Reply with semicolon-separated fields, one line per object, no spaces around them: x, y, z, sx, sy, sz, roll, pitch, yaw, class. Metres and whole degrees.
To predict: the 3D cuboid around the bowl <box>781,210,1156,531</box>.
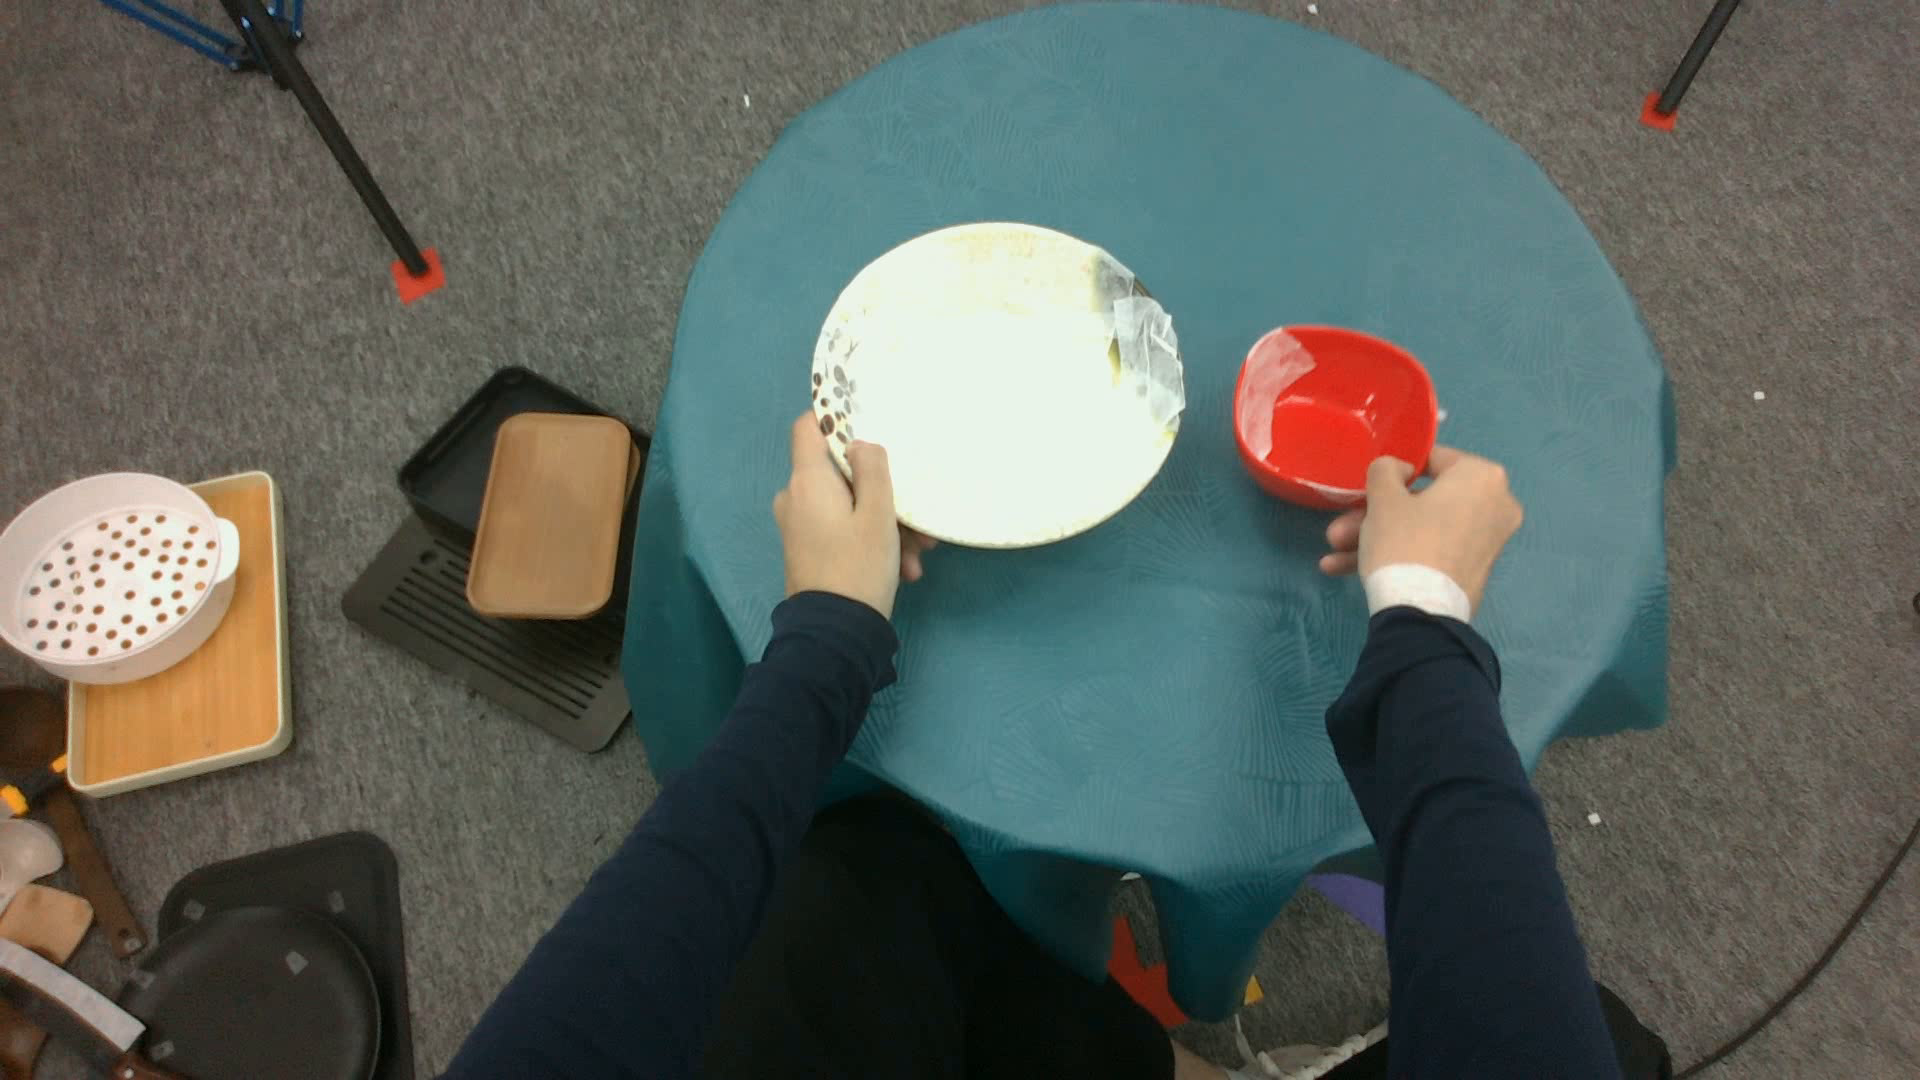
0.004;-0.083;0.781;0.204;0.077;0.204;0;65;-1;bowl

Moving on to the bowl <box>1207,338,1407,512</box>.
0.197;-0.058;0.795;0.119;0.051;0.119;-1;59;2;bowl
